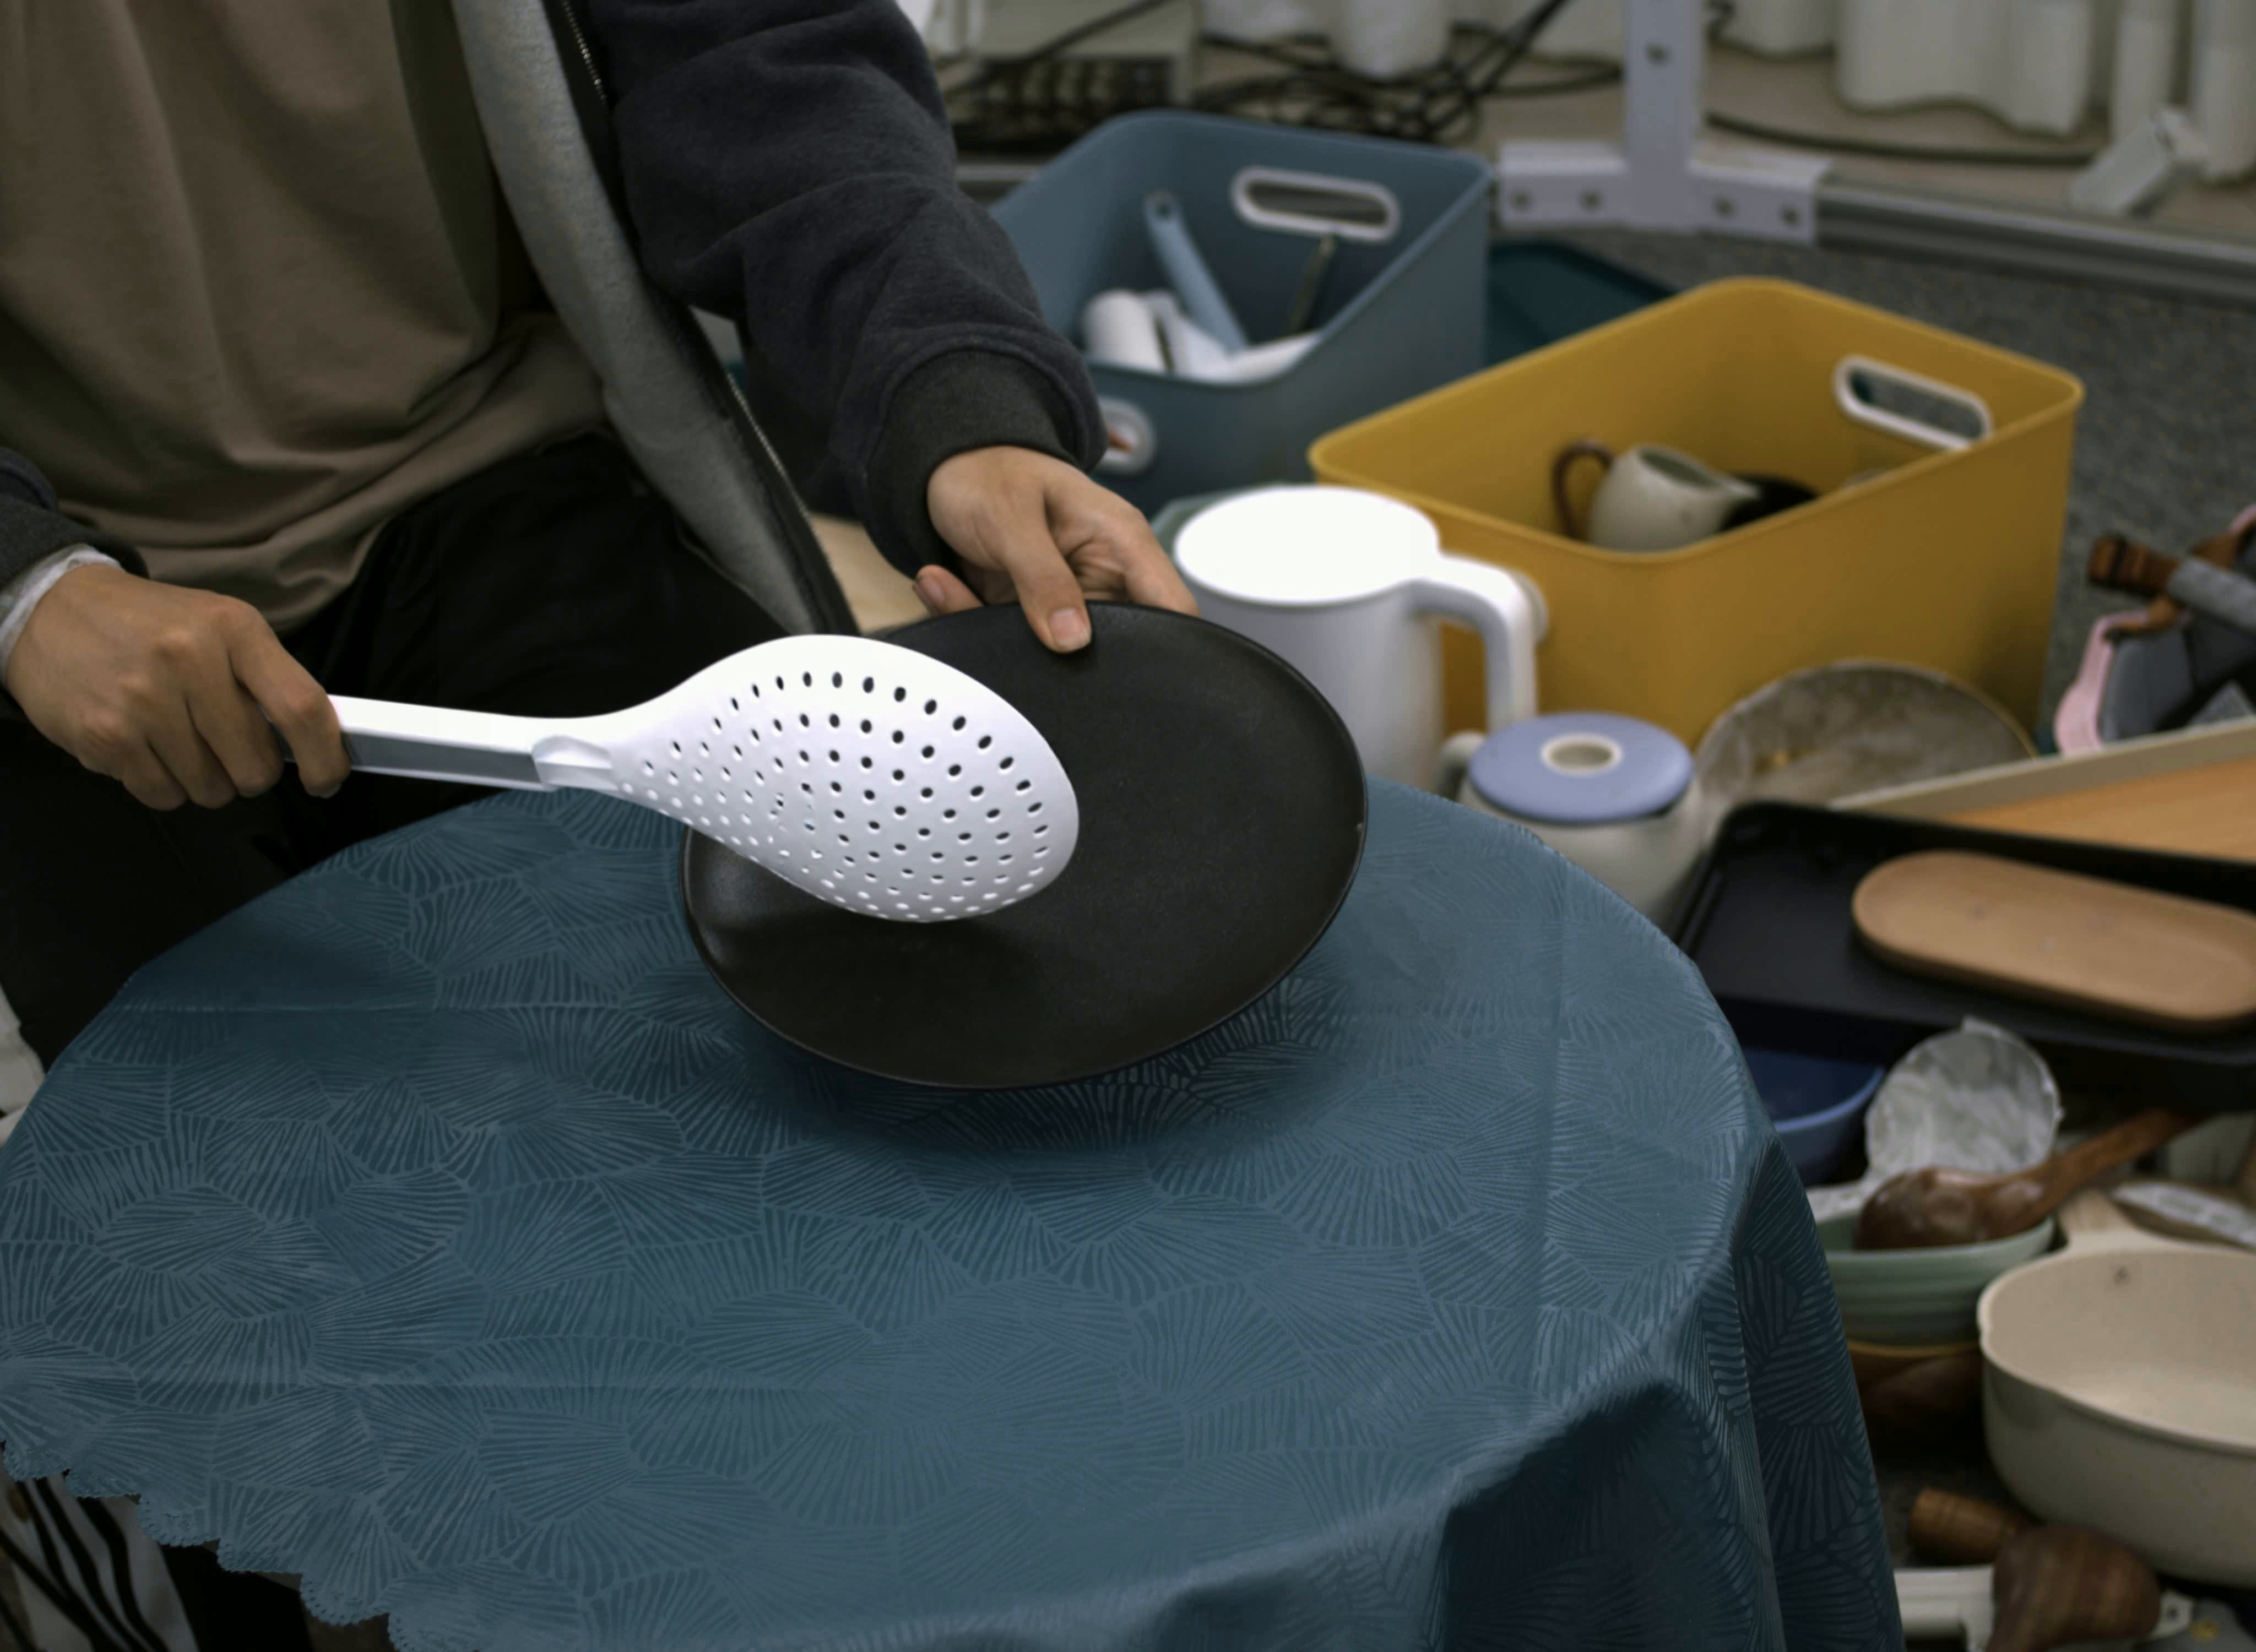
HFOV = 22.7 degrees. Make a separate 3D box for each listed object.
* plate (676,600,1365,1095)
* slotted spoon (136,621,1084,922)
[{"bbox_3d":[-0.037,0.010,1.962,0.243,0.023,0.249,-4,43,4],"label":"plate"},{"bbox_3d":[-0.183,-0.024,1.929,0.347,0.134,0.046,10,47,21],"label":"slotted spoon"}]
